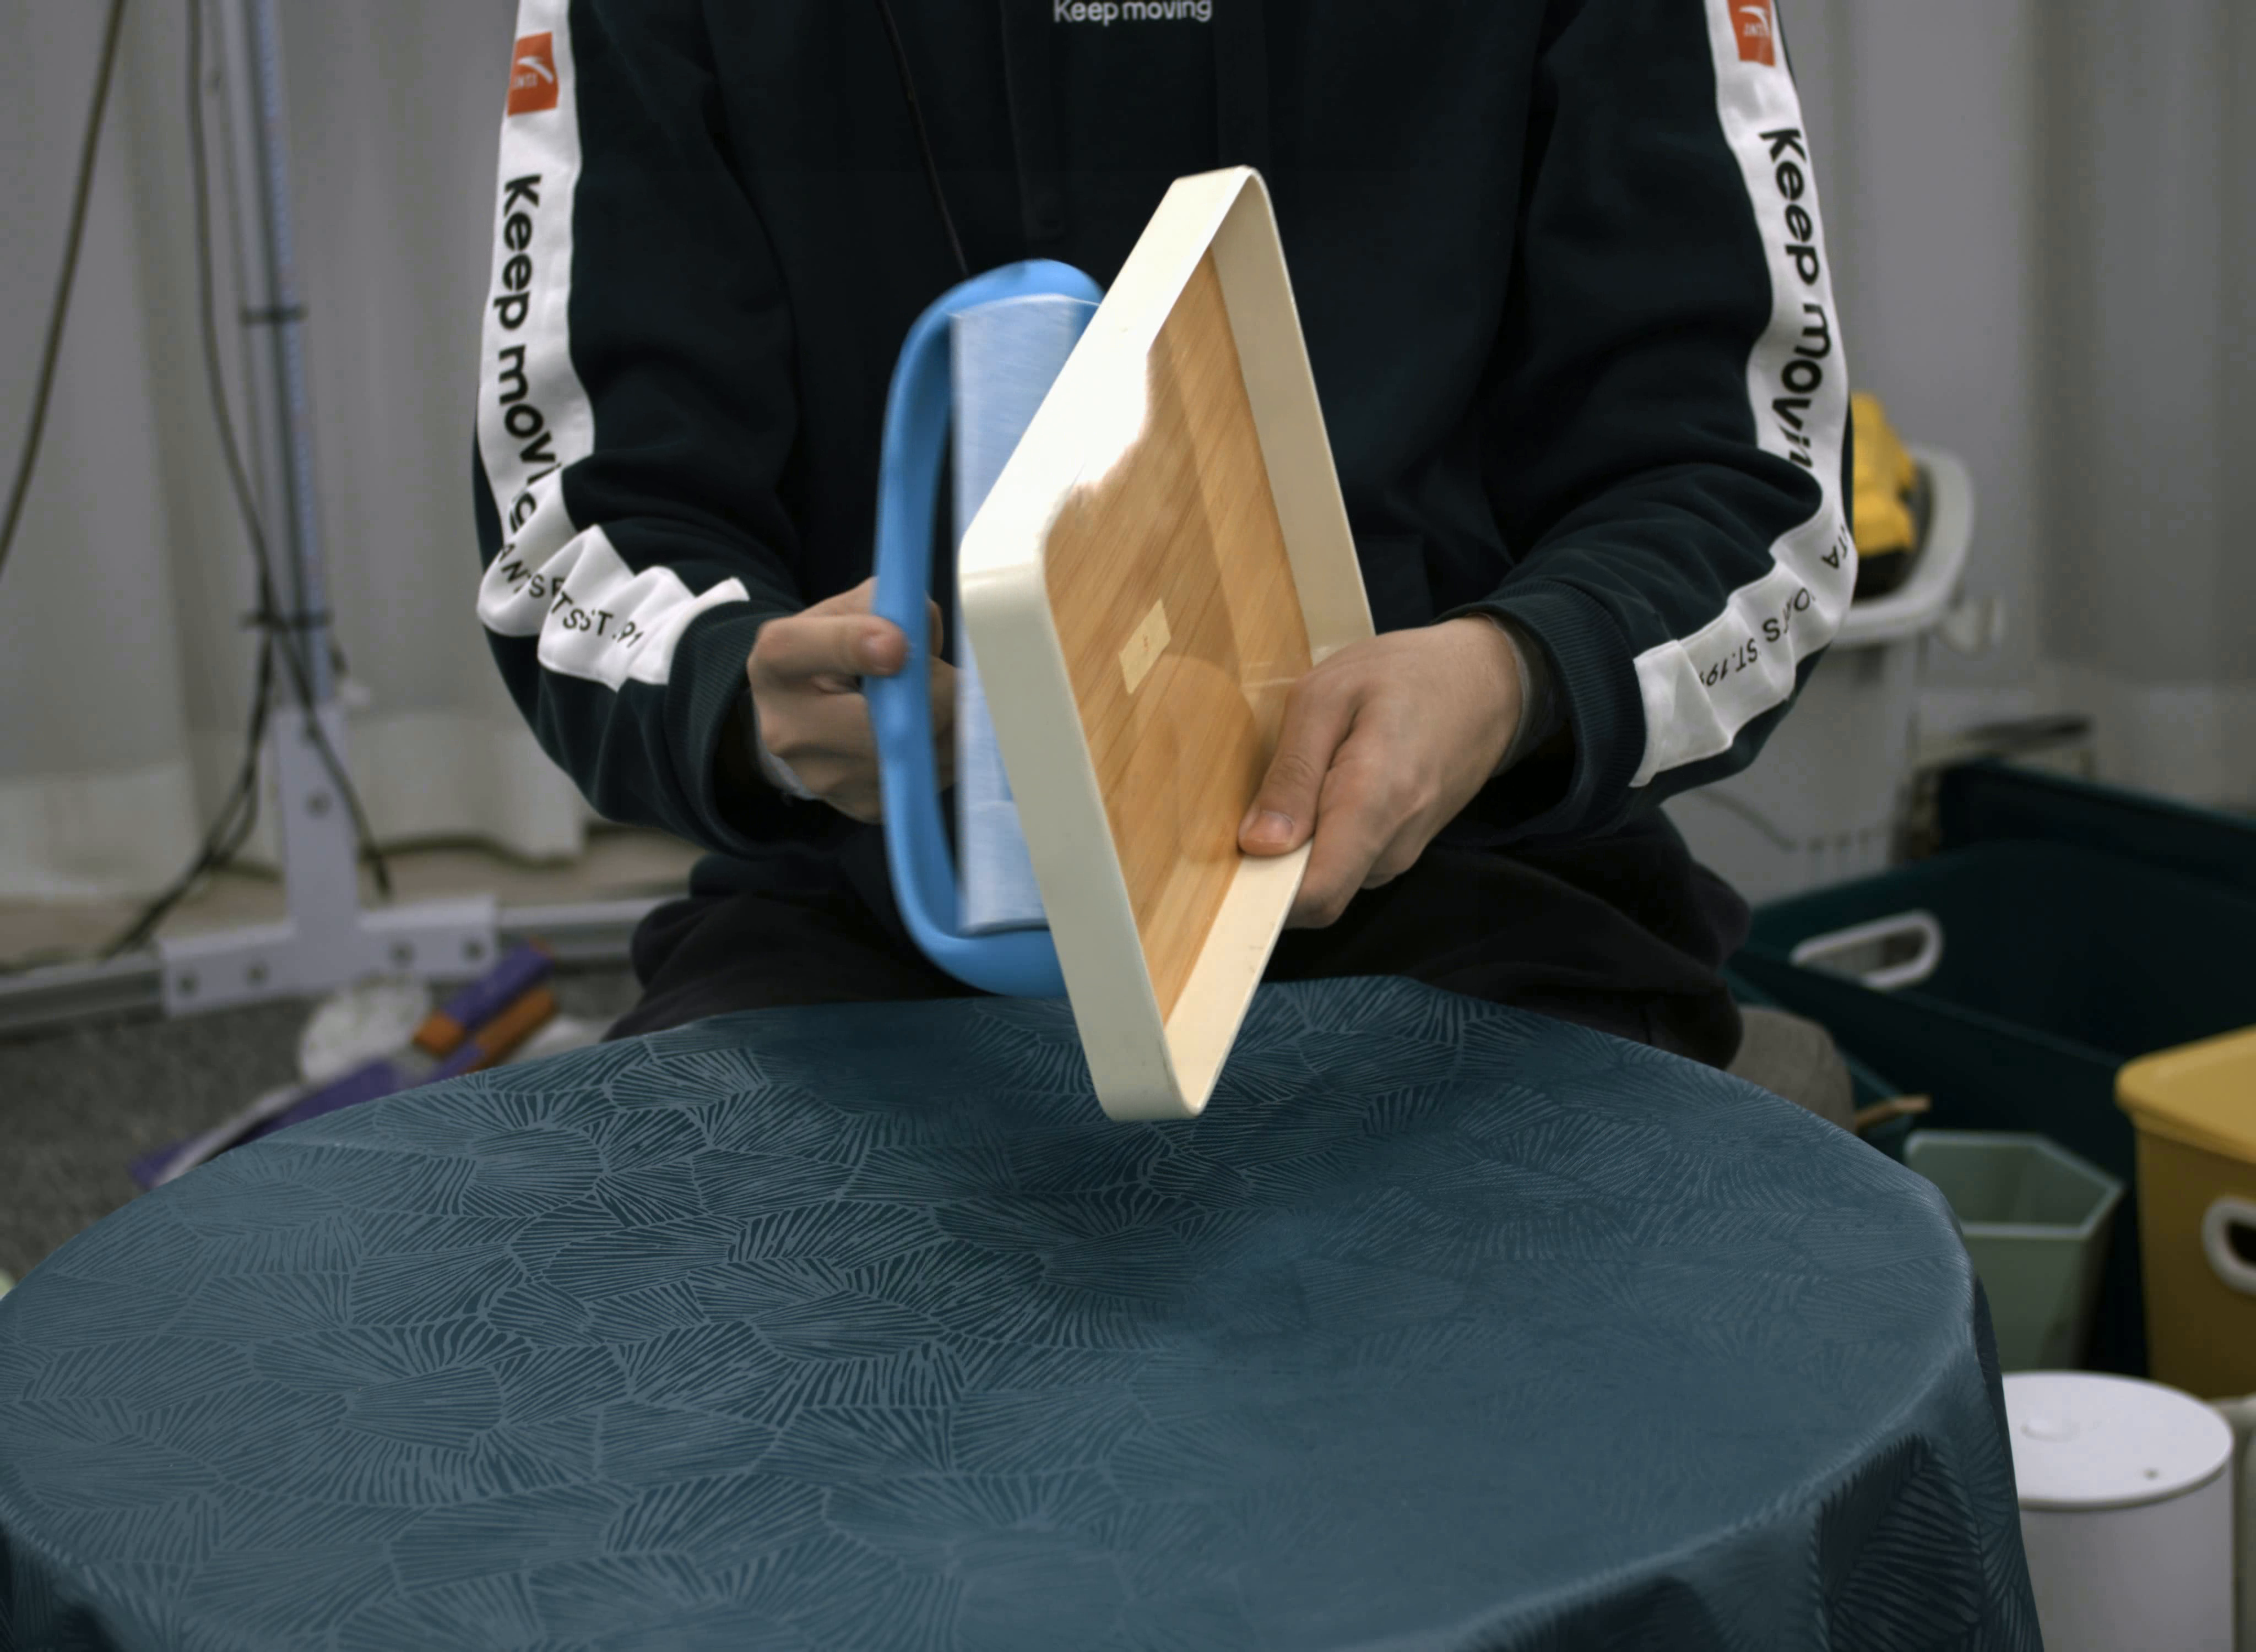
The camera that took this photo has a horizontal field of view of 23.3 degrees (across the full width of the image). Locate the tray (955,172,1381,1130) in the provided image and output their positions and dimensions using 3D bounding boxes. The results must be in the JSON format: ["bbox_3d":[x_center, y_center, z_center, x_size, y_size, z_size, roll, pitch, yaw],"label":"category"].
[{"bbox_3d":[0.017,-0.059,1.655,0.027,0.190,0.303,-8,25,18],"label":"tray"}]

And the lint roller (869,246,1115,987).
[{"bbox_3d":[-0.050,-0.049,1.704,0.067,0.231,0.179,3,-17,-22],"label":"lint roller"}]
